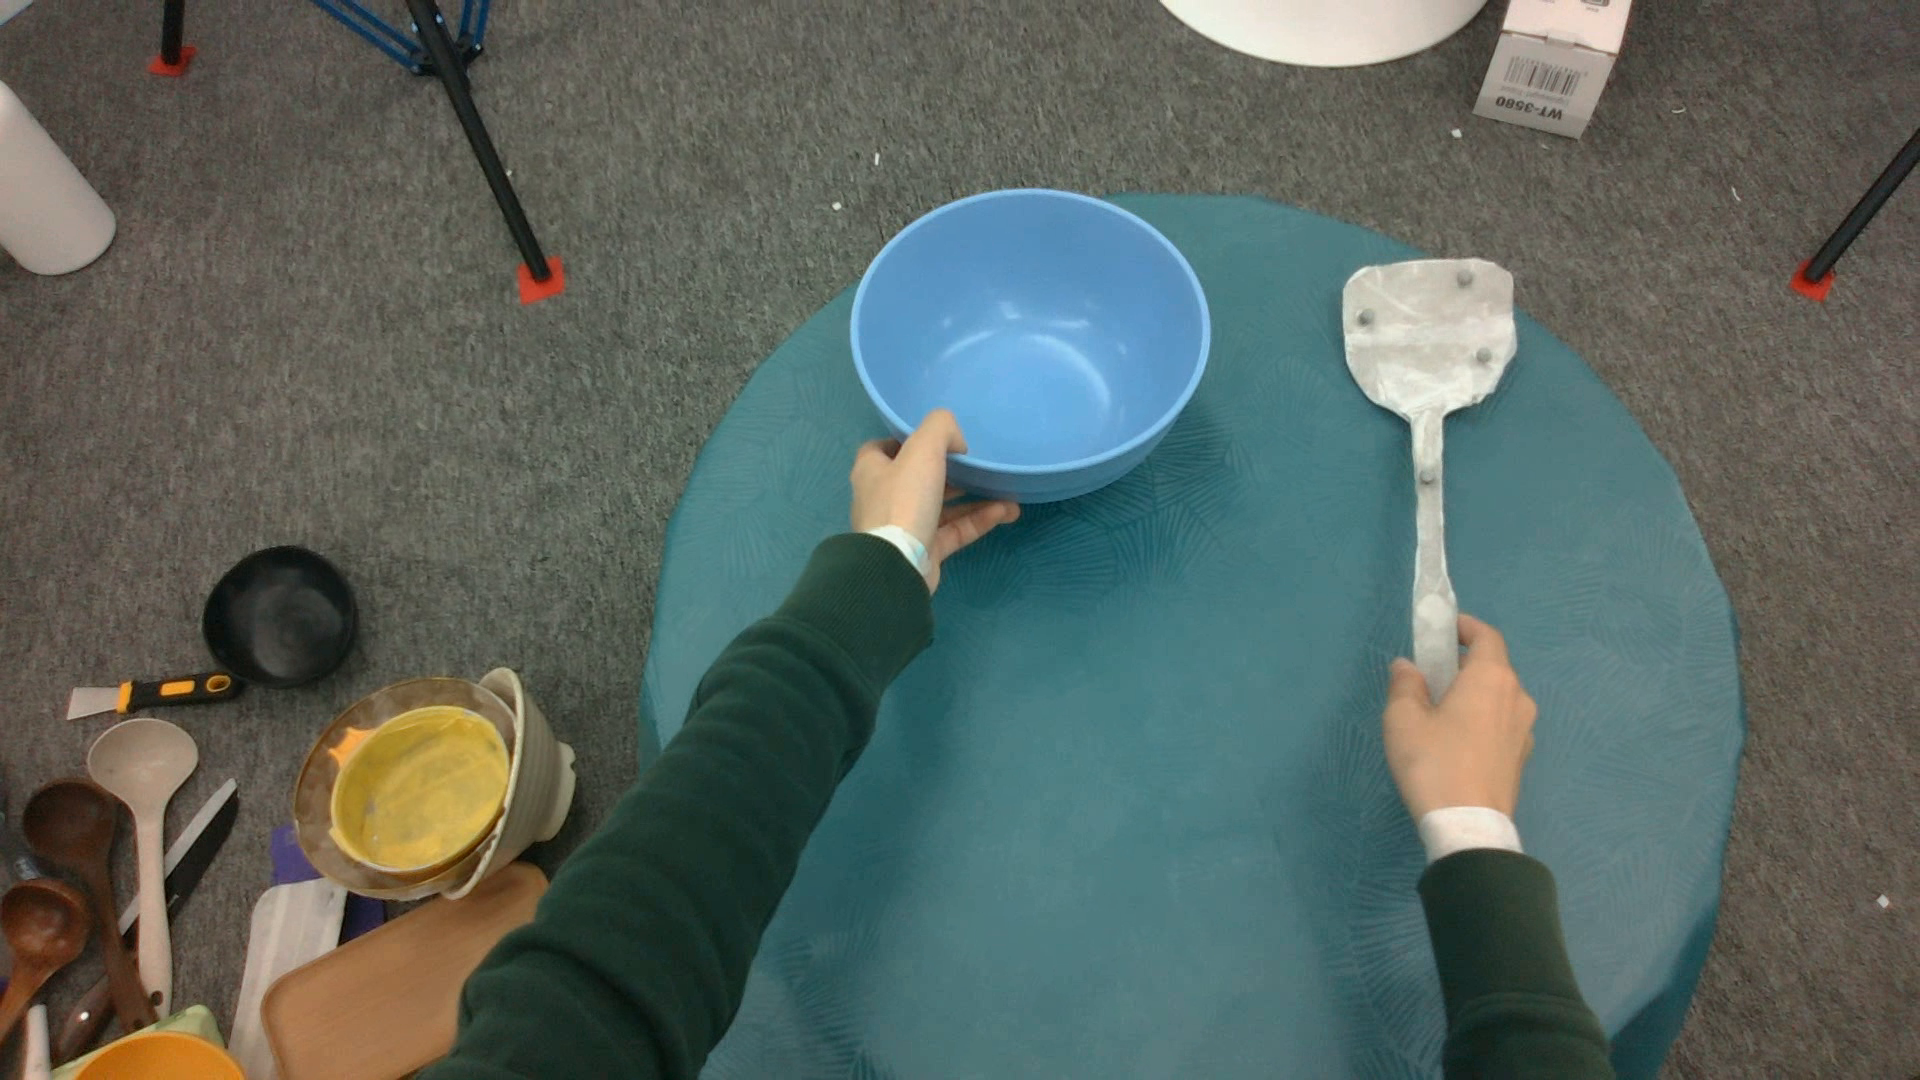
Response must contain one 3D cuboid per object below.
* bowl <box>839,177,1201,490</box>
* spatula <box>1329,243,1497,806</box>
[{"bbox_3d":[0.032,-0.103,0.784,0.196,0.095,0.197,0,58,0],"label":"bowl"},{"bbox_3d":[0.248,-0.027,0.754,0.098,0.044,0.366,2,52,15],"label":"spatula"}]
